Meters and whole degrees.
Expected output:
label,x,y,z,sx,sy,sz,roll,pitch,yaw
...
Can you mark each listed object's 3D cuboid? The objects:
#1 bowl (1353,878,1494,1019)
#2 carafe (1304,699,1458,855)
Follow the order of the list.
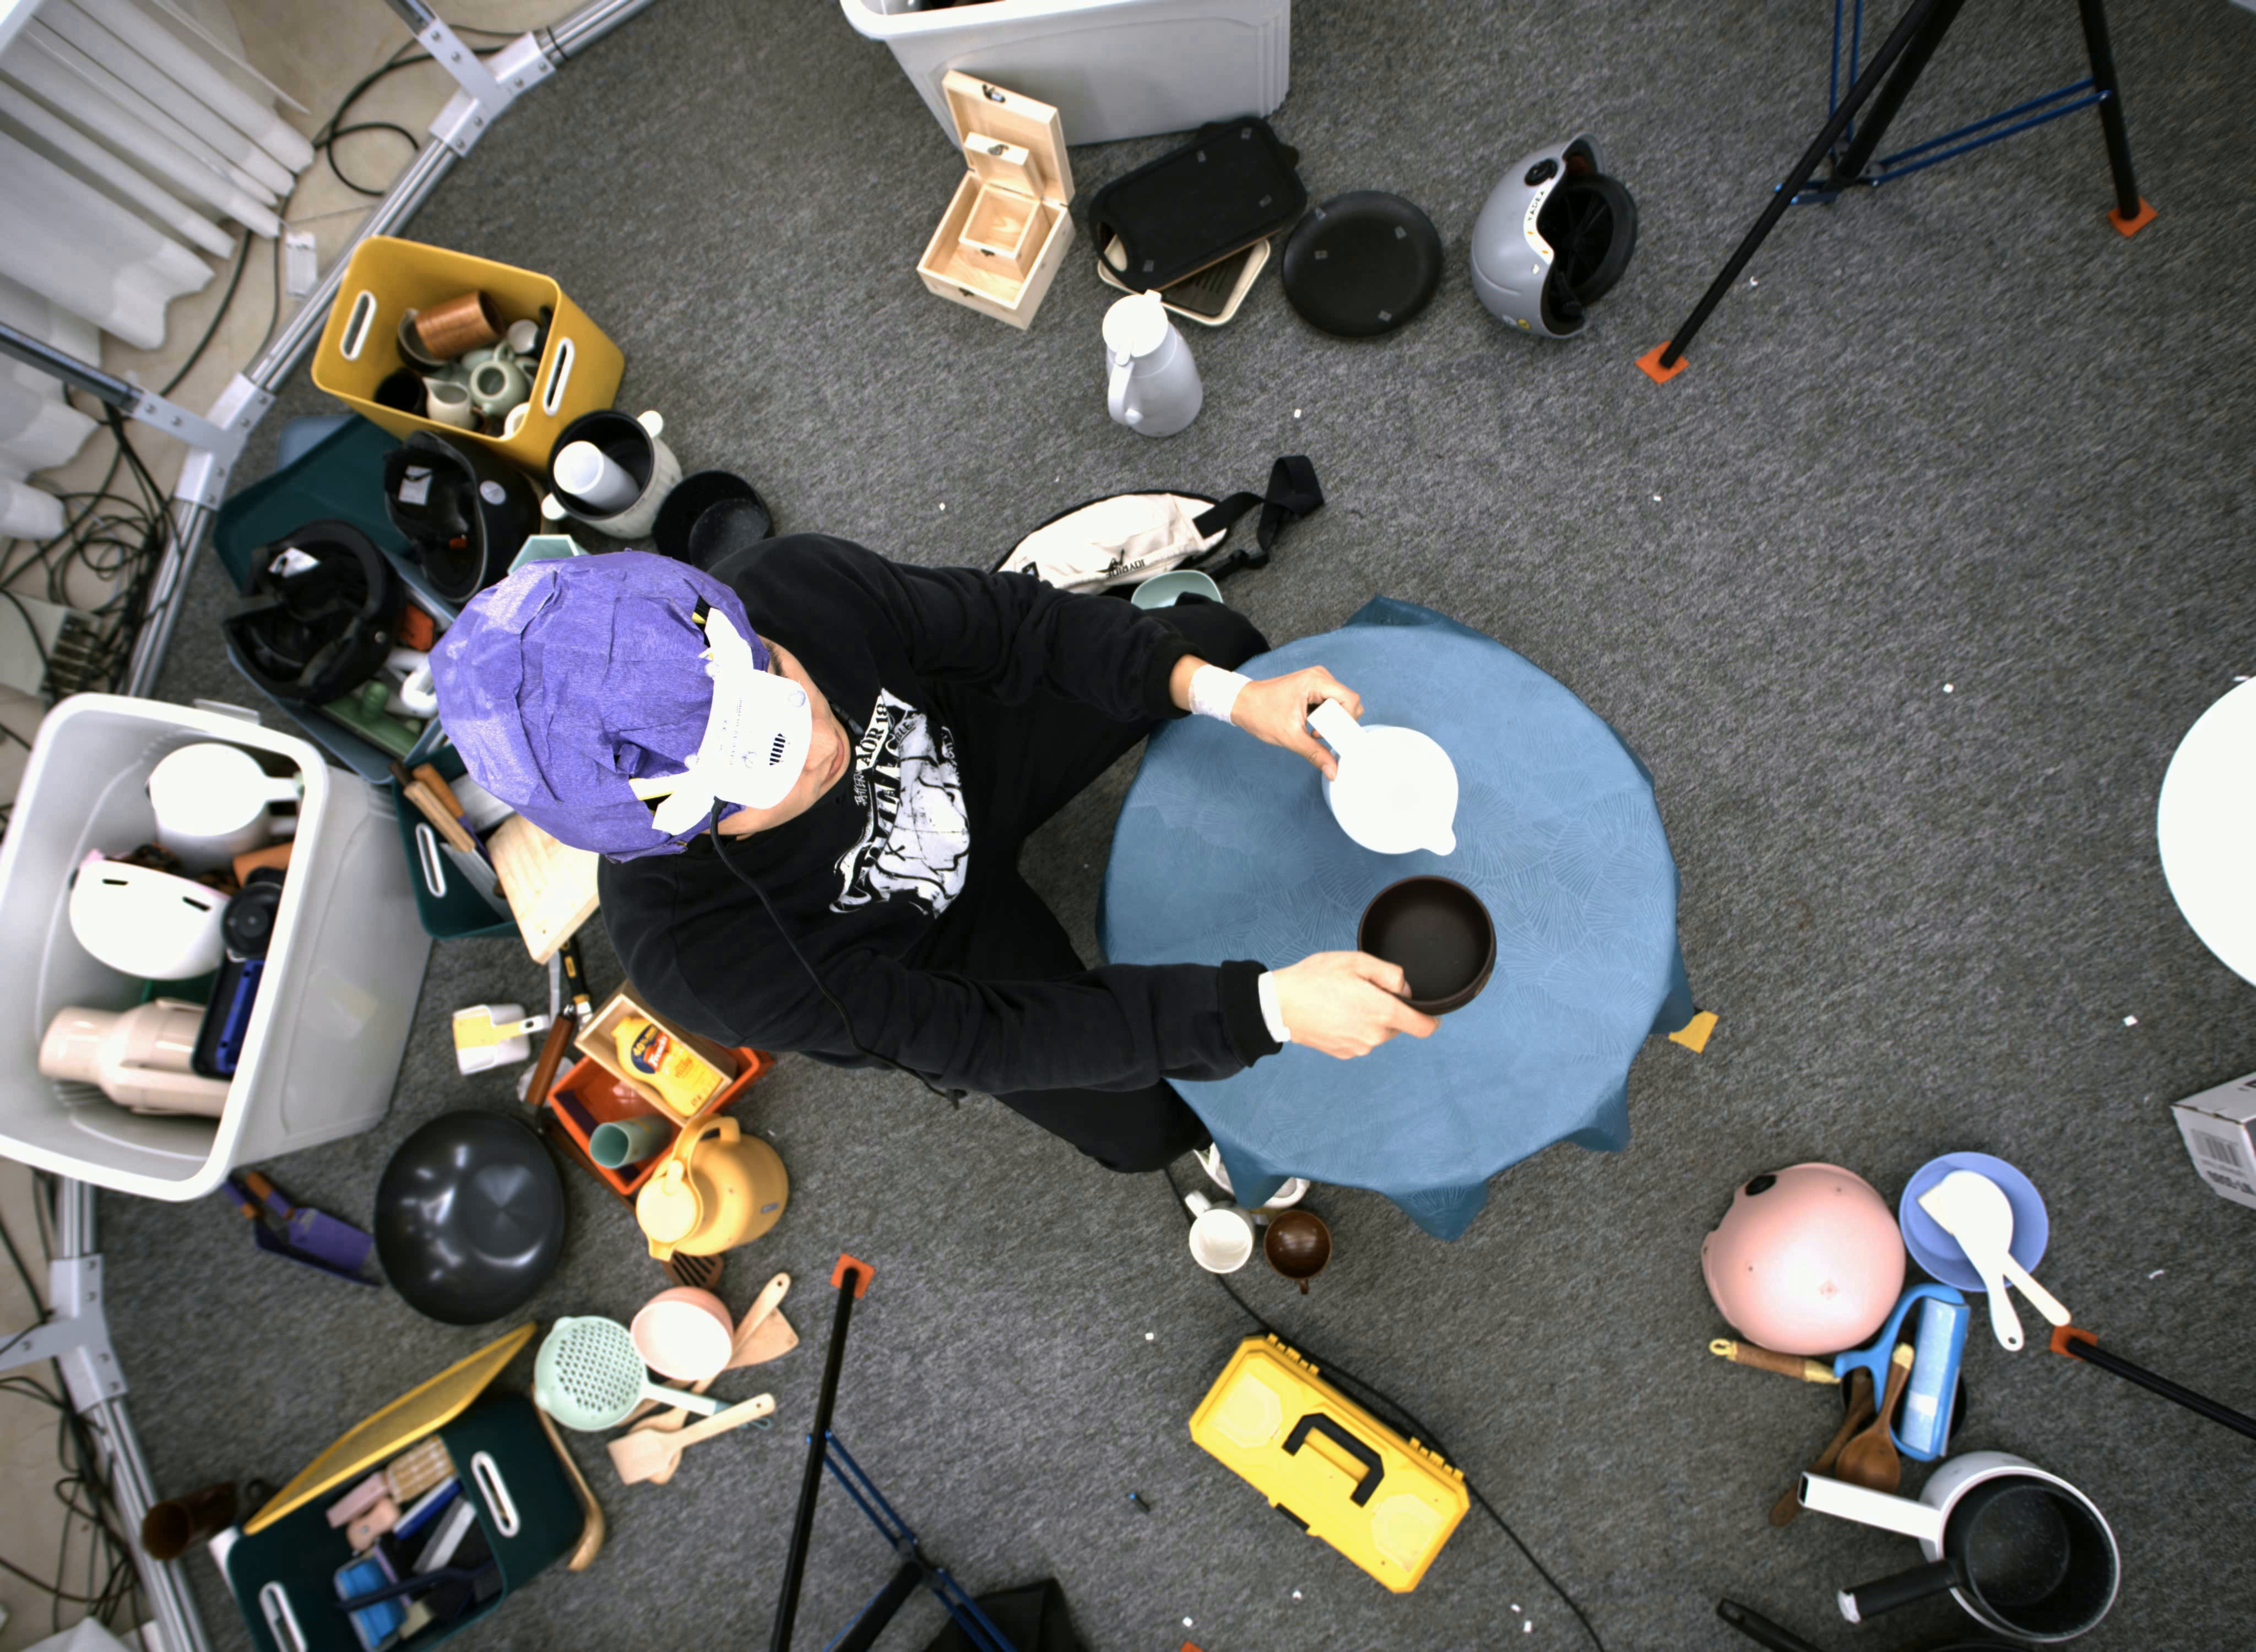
label,x,y,z,sx,sy,sz,roll,pitch,yaw
bowl,0.255,0.108,1.183,0.119,0.070,0.116,-6,68,15
carafe,0.237,-0.051,1.328,0.125,0.266,0.173,-44,91,10
